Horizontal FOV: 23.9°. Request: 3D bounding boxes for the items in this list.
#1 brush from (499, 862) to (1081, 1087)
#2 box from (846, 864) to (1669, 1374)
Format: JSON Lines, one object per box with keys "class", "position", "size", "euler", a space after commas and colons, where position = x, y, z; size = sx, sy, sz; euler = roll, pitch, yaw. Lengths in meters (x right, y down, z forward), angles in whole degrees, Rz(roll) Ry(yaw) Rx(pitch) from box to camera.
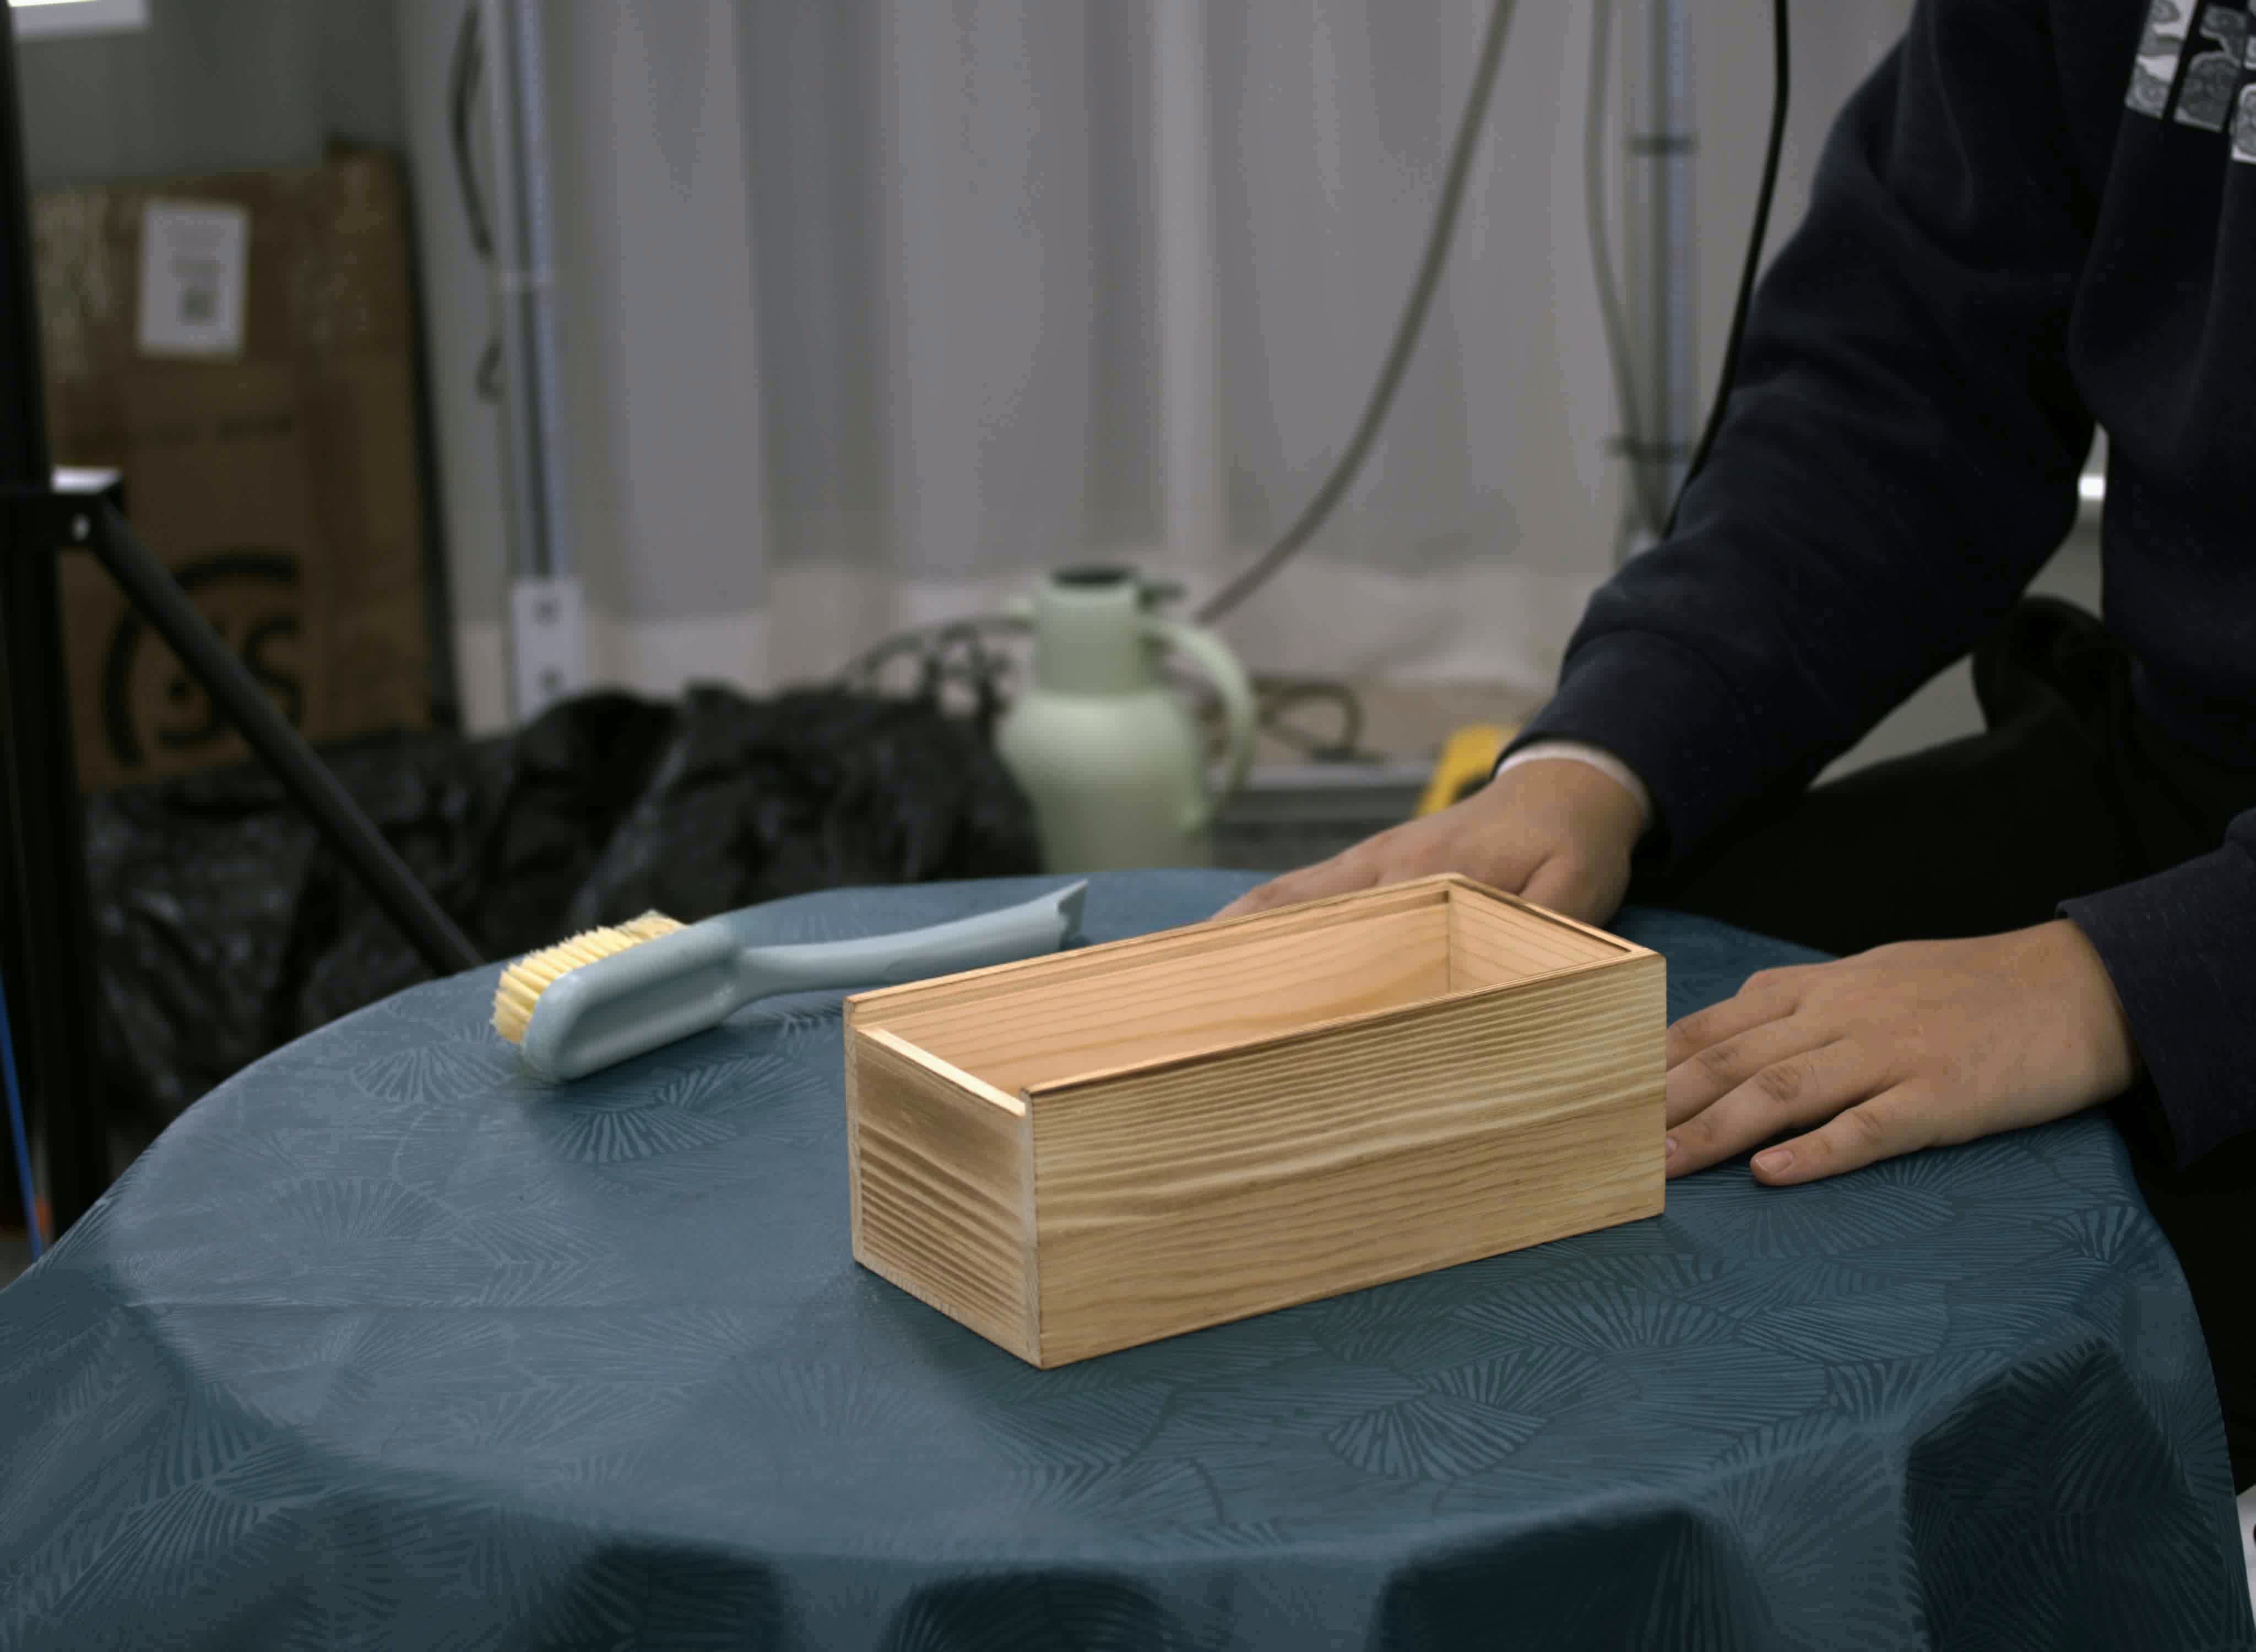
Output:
{"class": "brush", "position": [-0.106, 0.041, 1.739], "size": [0.223, 0.038, 0.051], "euler": [-15, 27, -35]}
{"class": "box", "position": [0.038, 0.080, 1.504], "size": [0.207, 0.080, 0.110], "euler": [-12, 18, -29]}
